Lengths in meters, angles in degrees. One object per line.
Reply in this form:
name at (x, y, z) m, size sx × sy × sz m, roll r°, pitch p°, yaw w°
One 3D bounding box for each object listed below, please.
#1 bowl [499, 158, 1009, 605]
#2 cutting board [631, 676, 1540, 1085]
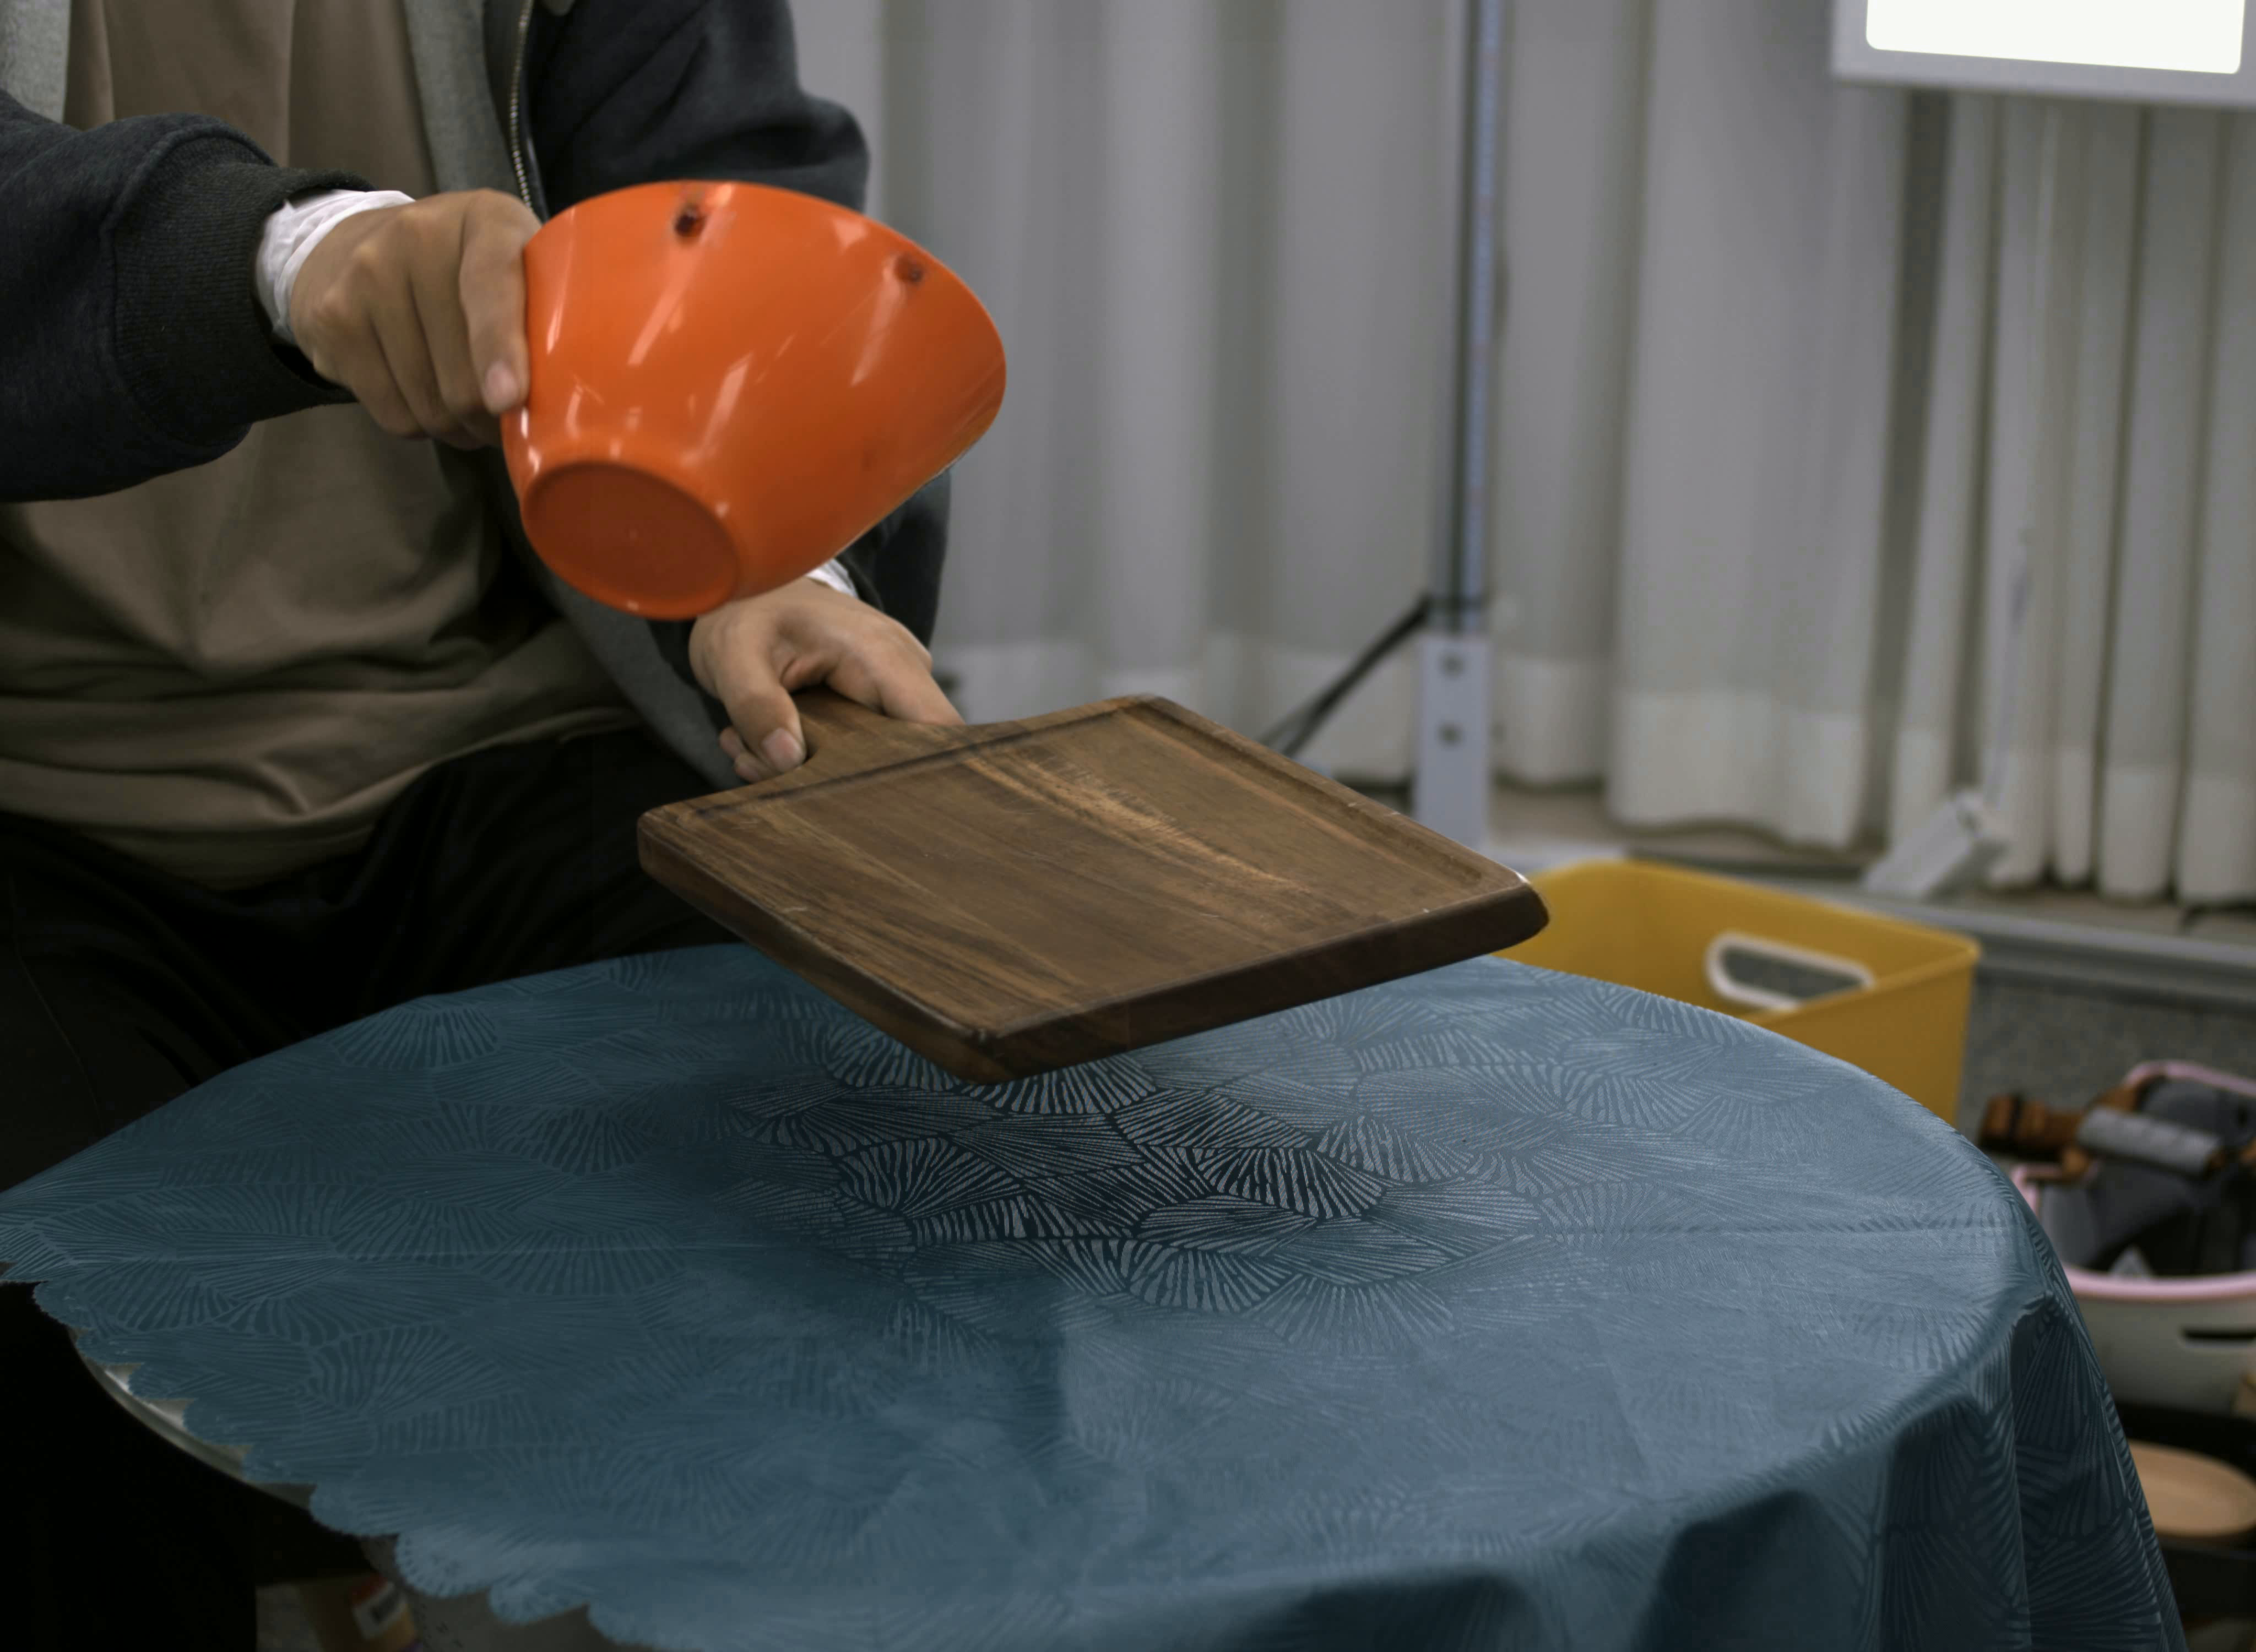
bowl at (-0.119, -0.116, 1.522) m, size 0.146 × 0.150 × 0.104 m, roll 6°, pitch 49°, yaw 18°
cutting board at (-0.041, 0.002, 1.691) m, size 0.201 × 0.023 × 0.347 m, roll -14°, pitch 21°, yaw -26°
